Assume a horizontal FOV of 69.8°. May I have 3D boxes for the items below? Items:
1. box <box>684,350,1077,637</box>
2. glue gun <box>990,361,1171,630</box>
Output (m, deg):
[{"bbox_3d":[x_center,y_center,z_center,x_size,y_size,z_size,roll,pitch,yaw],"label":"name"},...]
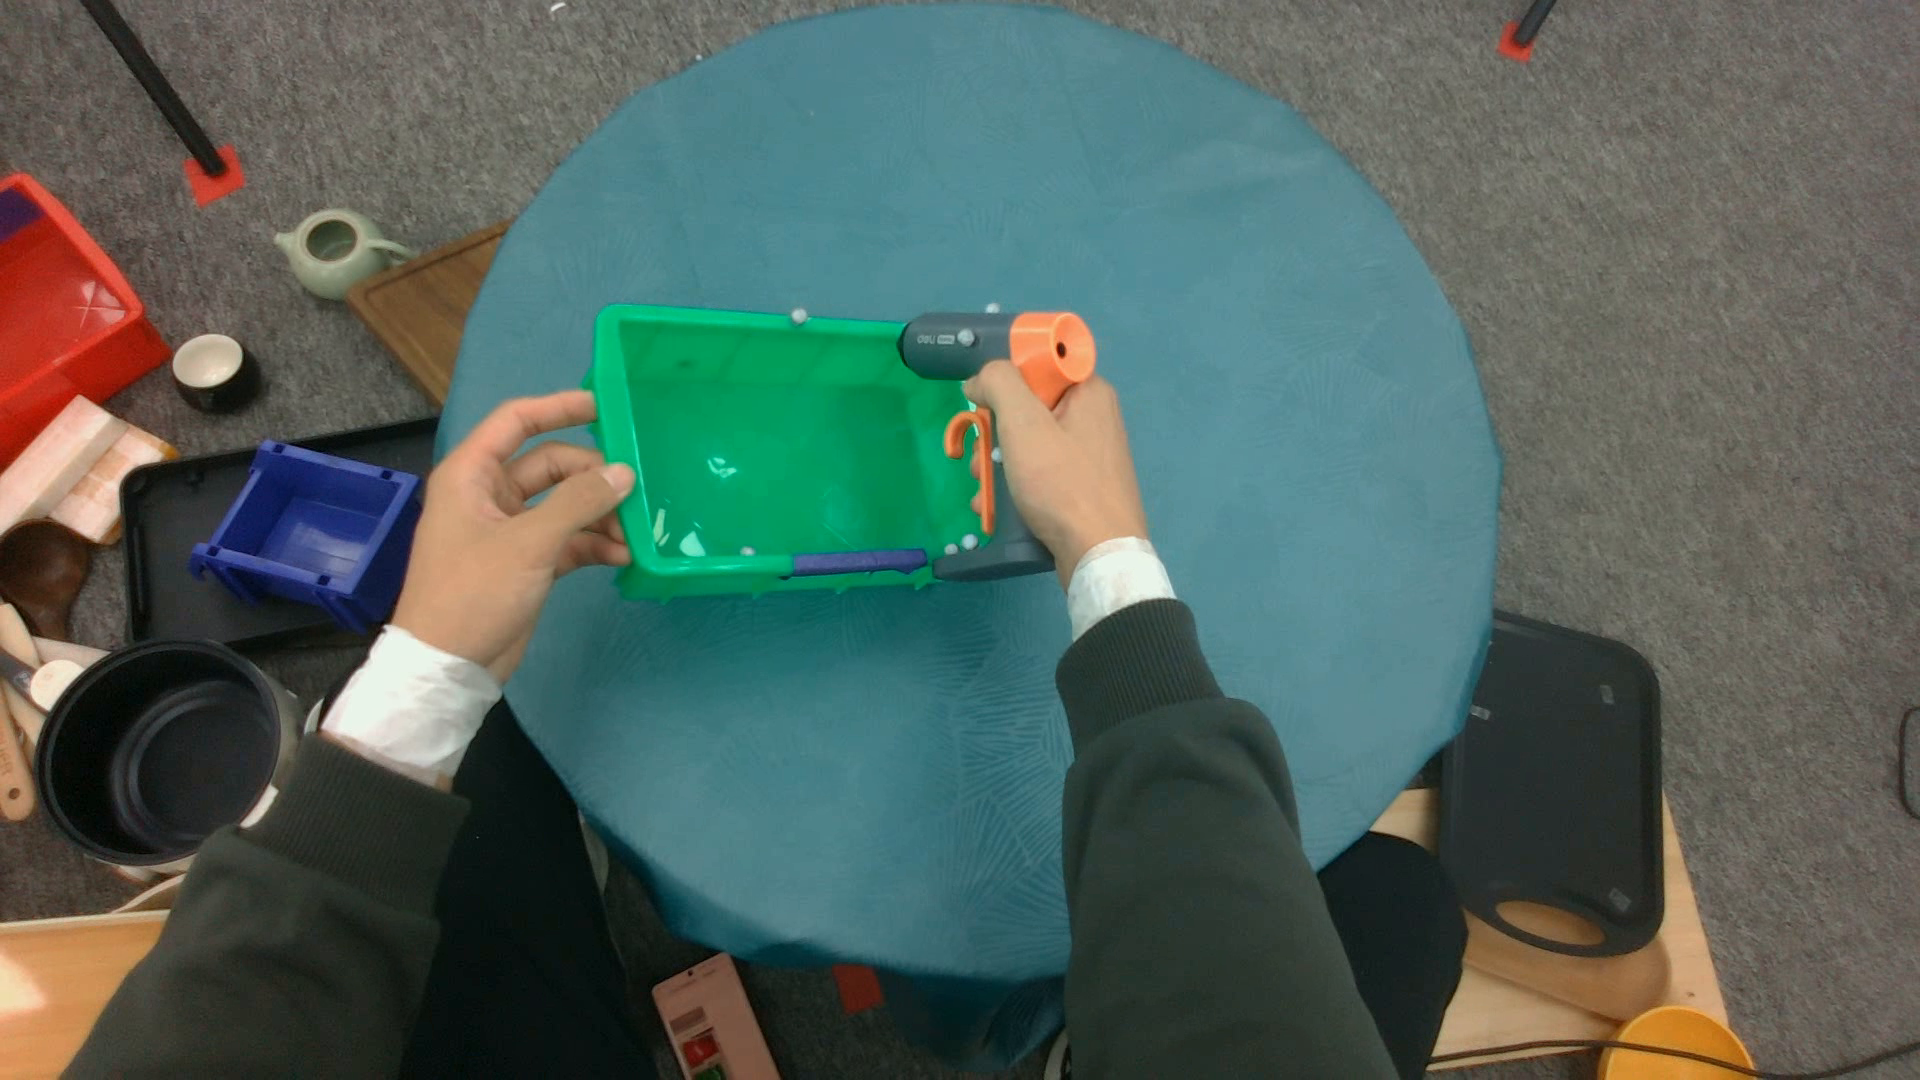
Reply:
[{"bbox_3d":[-0.040,-0.019,0.718,0.211,0.065,0.139,0,68,-30],"label":"box"},{"bbox_3d":[0.055,-0.029,0.686,0.041,0.117,0.140,8,74,-35],"label":"glue gun"}]
